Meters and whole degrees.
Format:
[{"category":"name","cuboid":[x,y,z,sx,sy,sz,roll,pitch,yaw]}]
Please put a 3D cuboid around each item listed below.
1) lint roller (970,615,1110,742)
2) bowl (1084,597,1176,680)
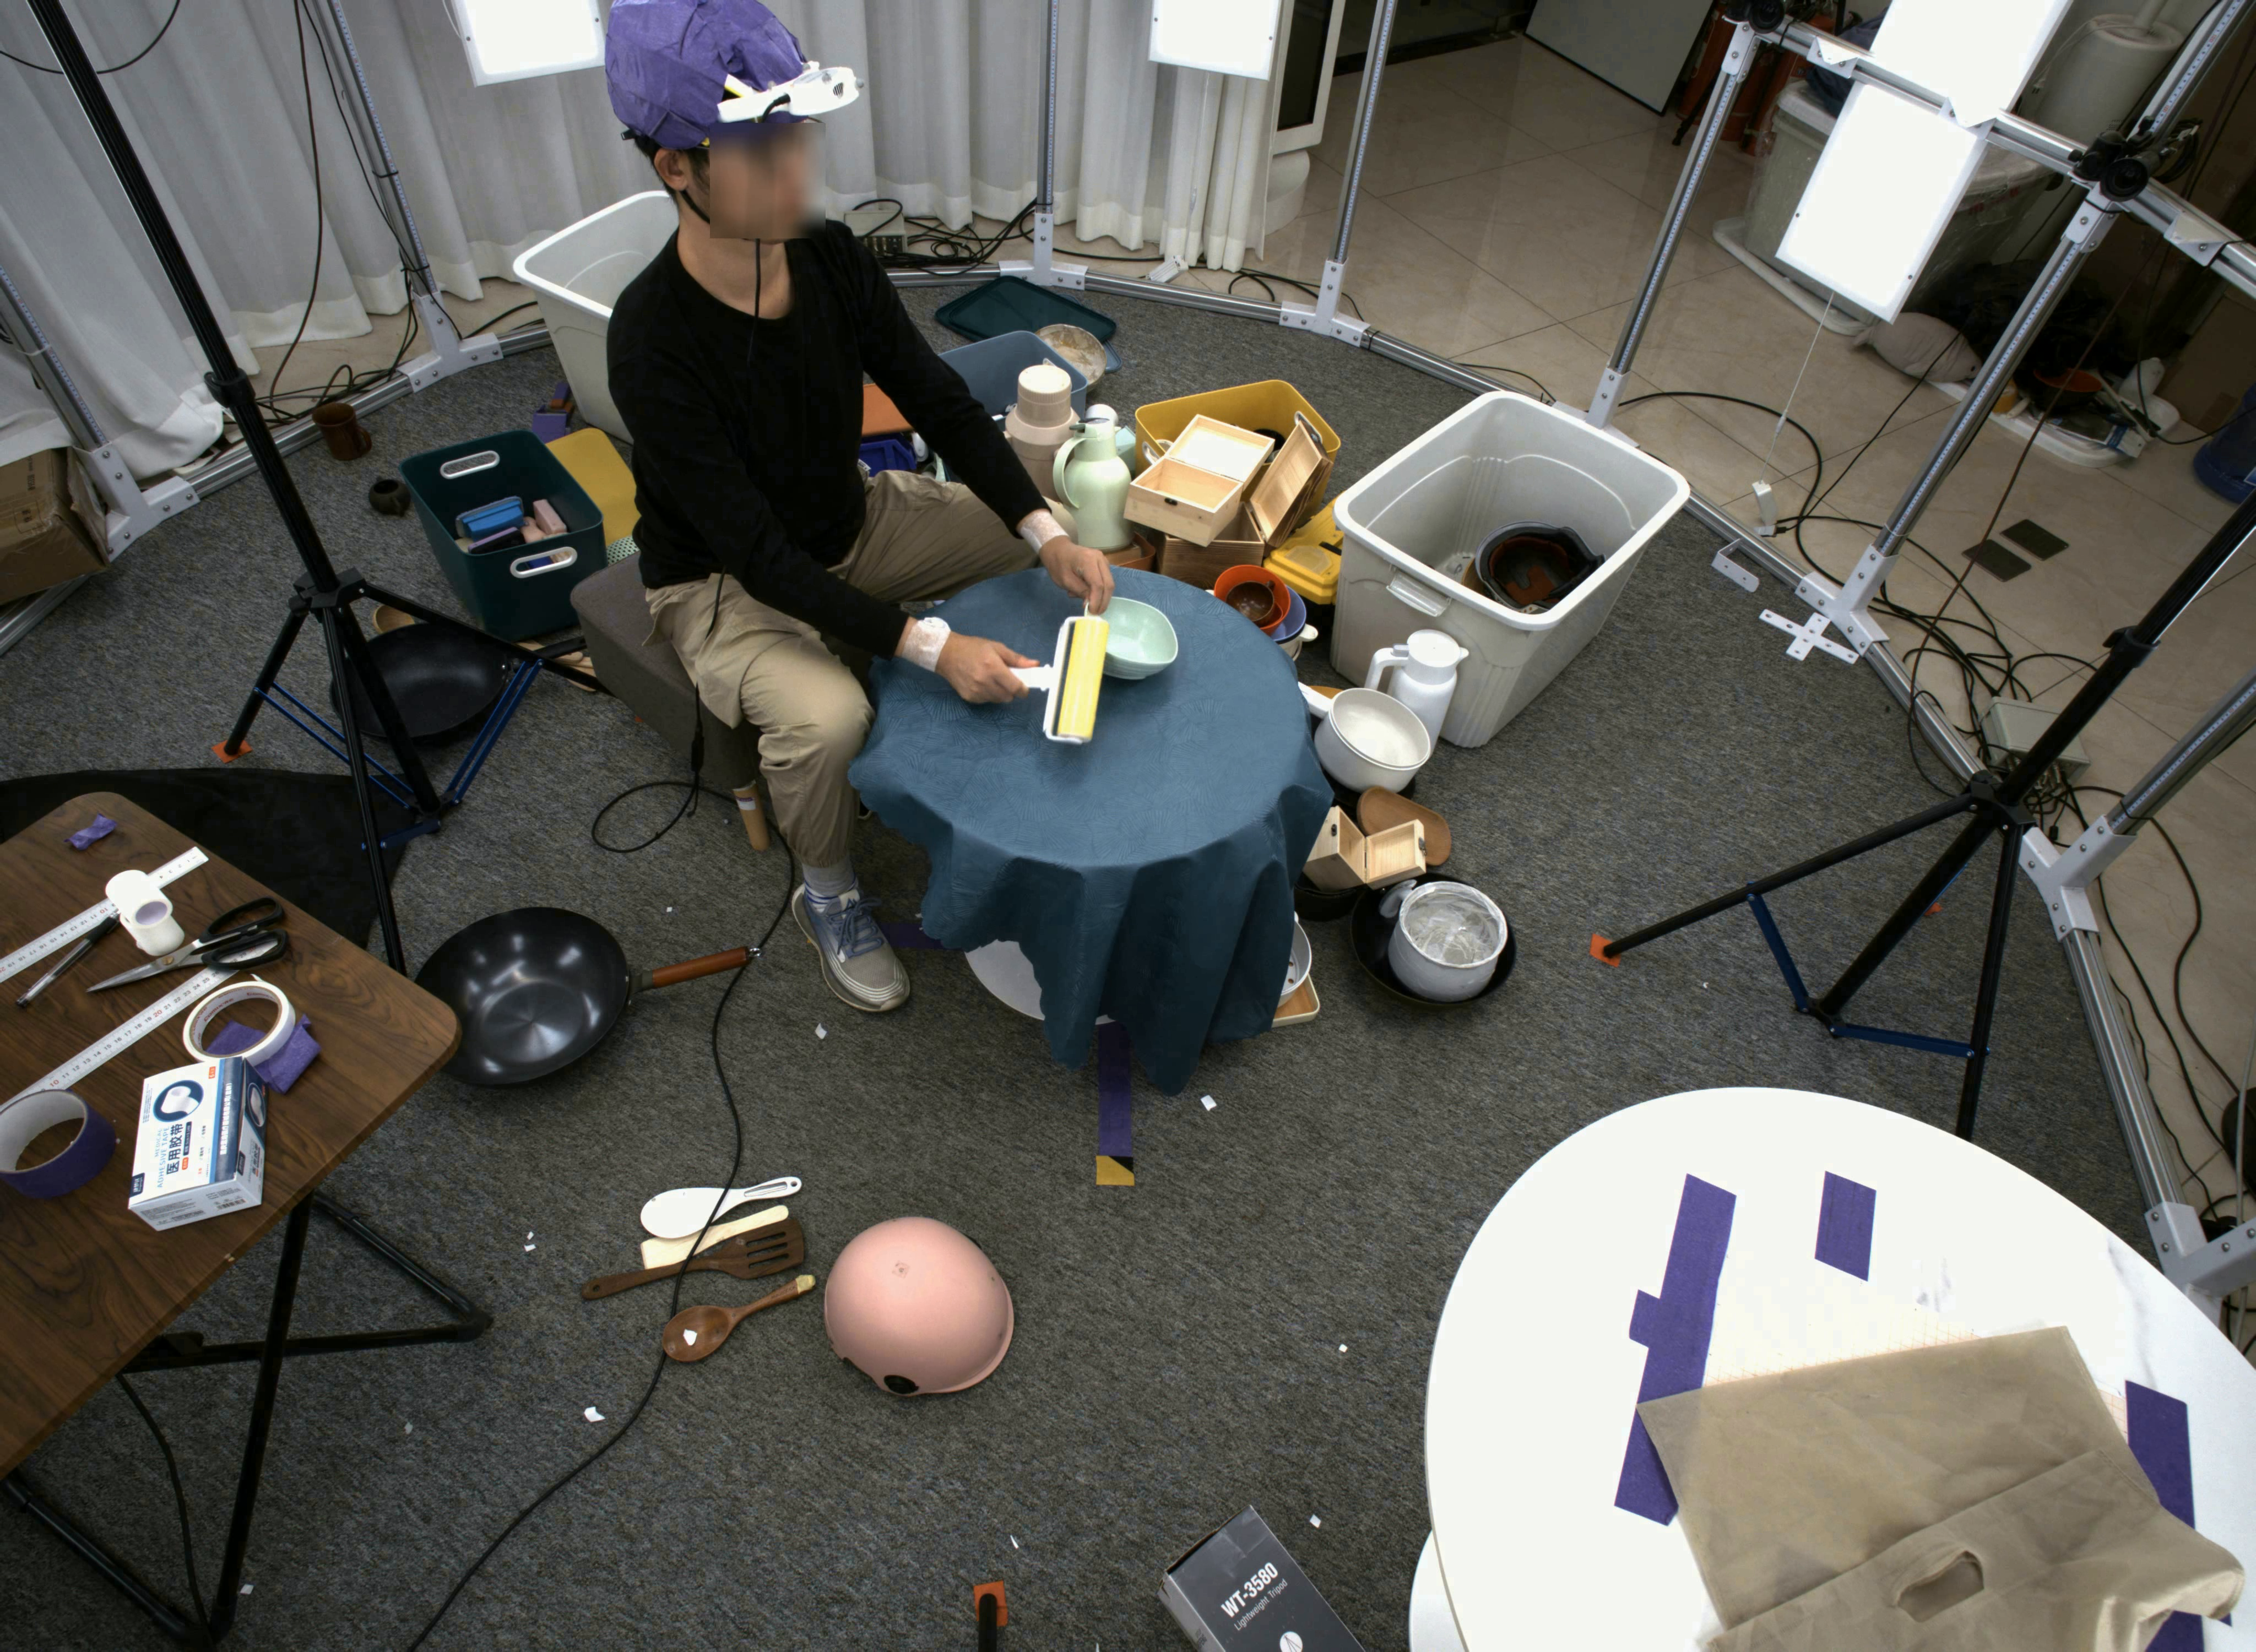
[{"category":"lint roller","cuboid":[-0.127,-0.205,1.747,0.192,0.051,0.176,5,78,10]},{"category":"bowl","cuboid":[-0.005,-0.261,1.846,0.150,0.057,0.155,15,43,-14]}]
